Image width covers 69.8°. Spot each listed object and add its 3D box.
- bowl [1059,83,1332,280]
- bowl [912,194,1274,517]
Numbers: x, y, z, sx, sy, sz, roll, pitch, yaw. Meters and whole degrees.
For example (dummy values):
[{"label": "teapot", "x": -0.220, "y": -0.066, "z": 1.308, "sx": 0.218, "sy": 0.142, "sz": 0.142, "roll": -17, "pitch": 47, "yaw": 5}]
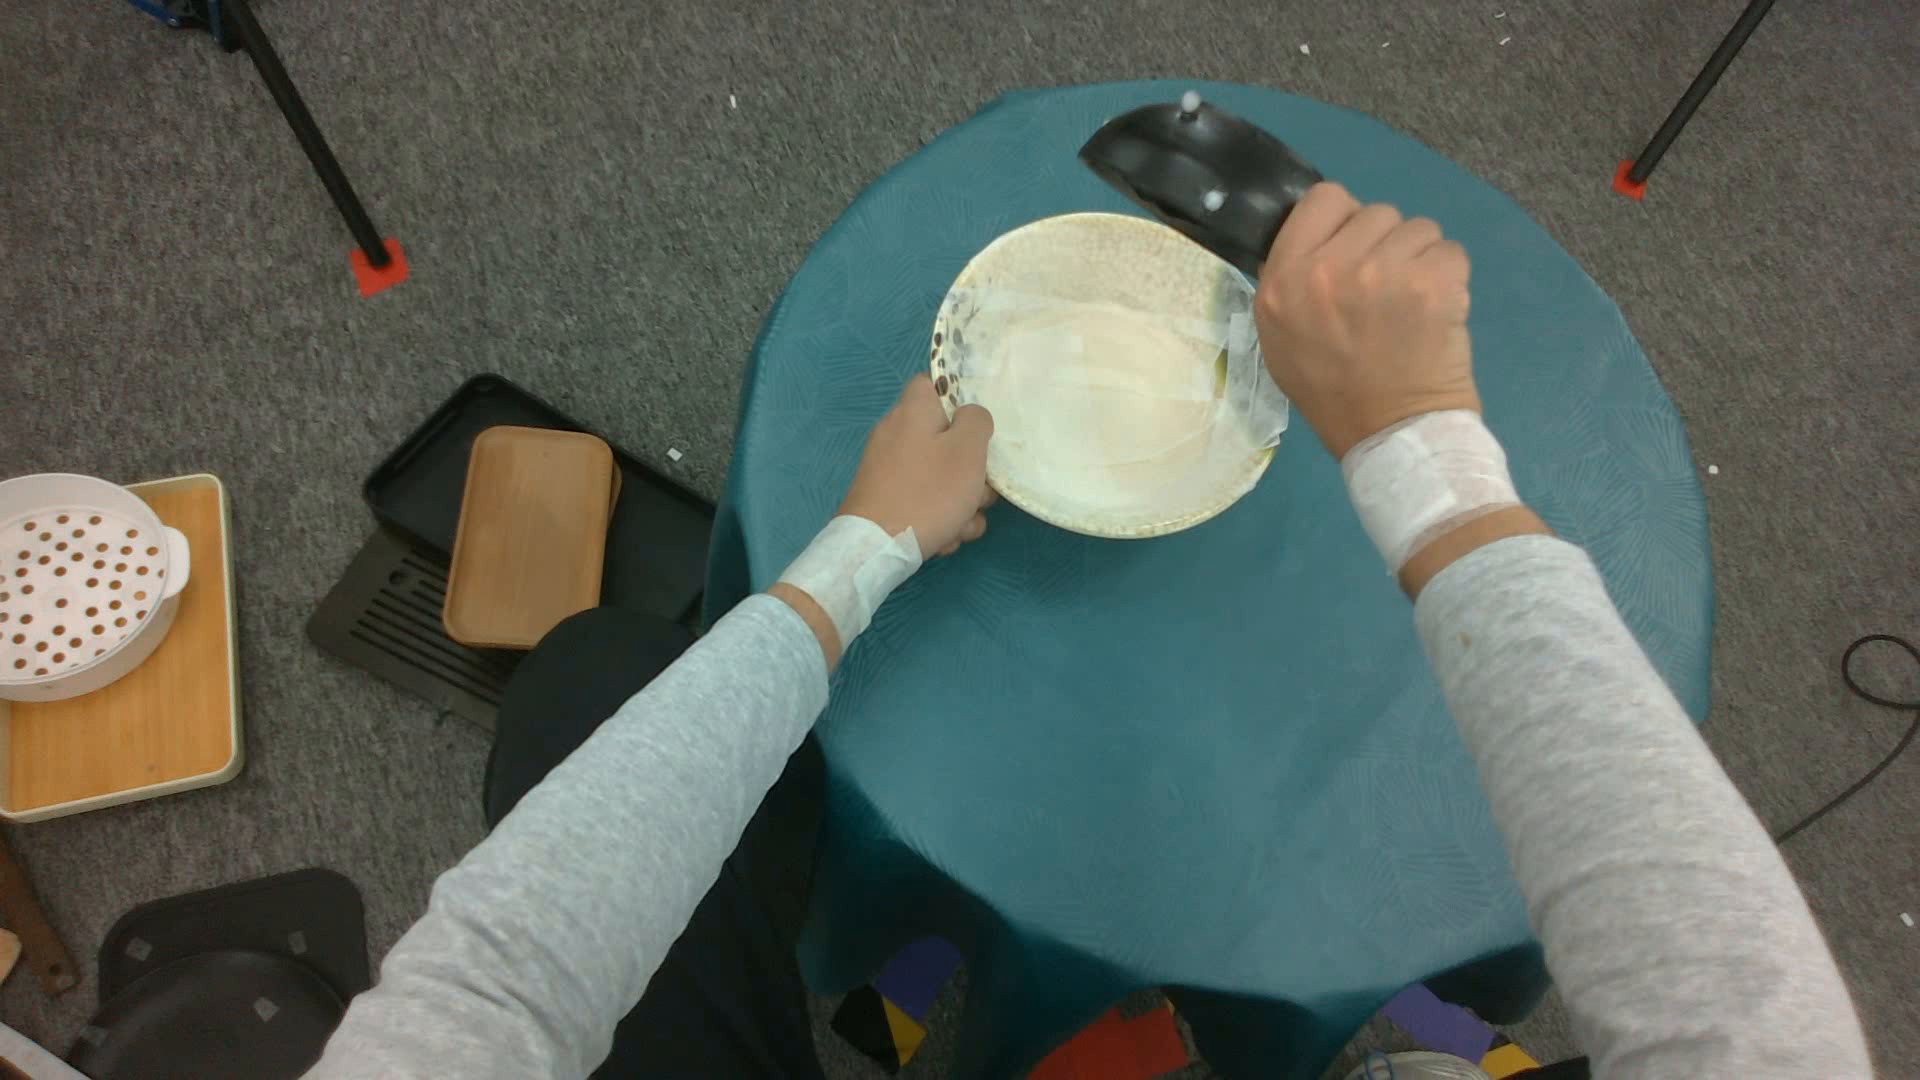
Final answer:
[{"label": "bowl", "x": 0.118, "y": -0.175, "z": 0.646, "sx": 0.140, "sy": 0.140, "sz": 0.049, "roll": 28, "pitch": 103, "yaw": 4}, {"label": "bowl", "x": 0.071, "y": -0.095, "z": 0.797, "sx": 0.204, "sy": 0.077, "sz": 0.204, "roll": 2, "pitch": 68, "yaw": -6}]
